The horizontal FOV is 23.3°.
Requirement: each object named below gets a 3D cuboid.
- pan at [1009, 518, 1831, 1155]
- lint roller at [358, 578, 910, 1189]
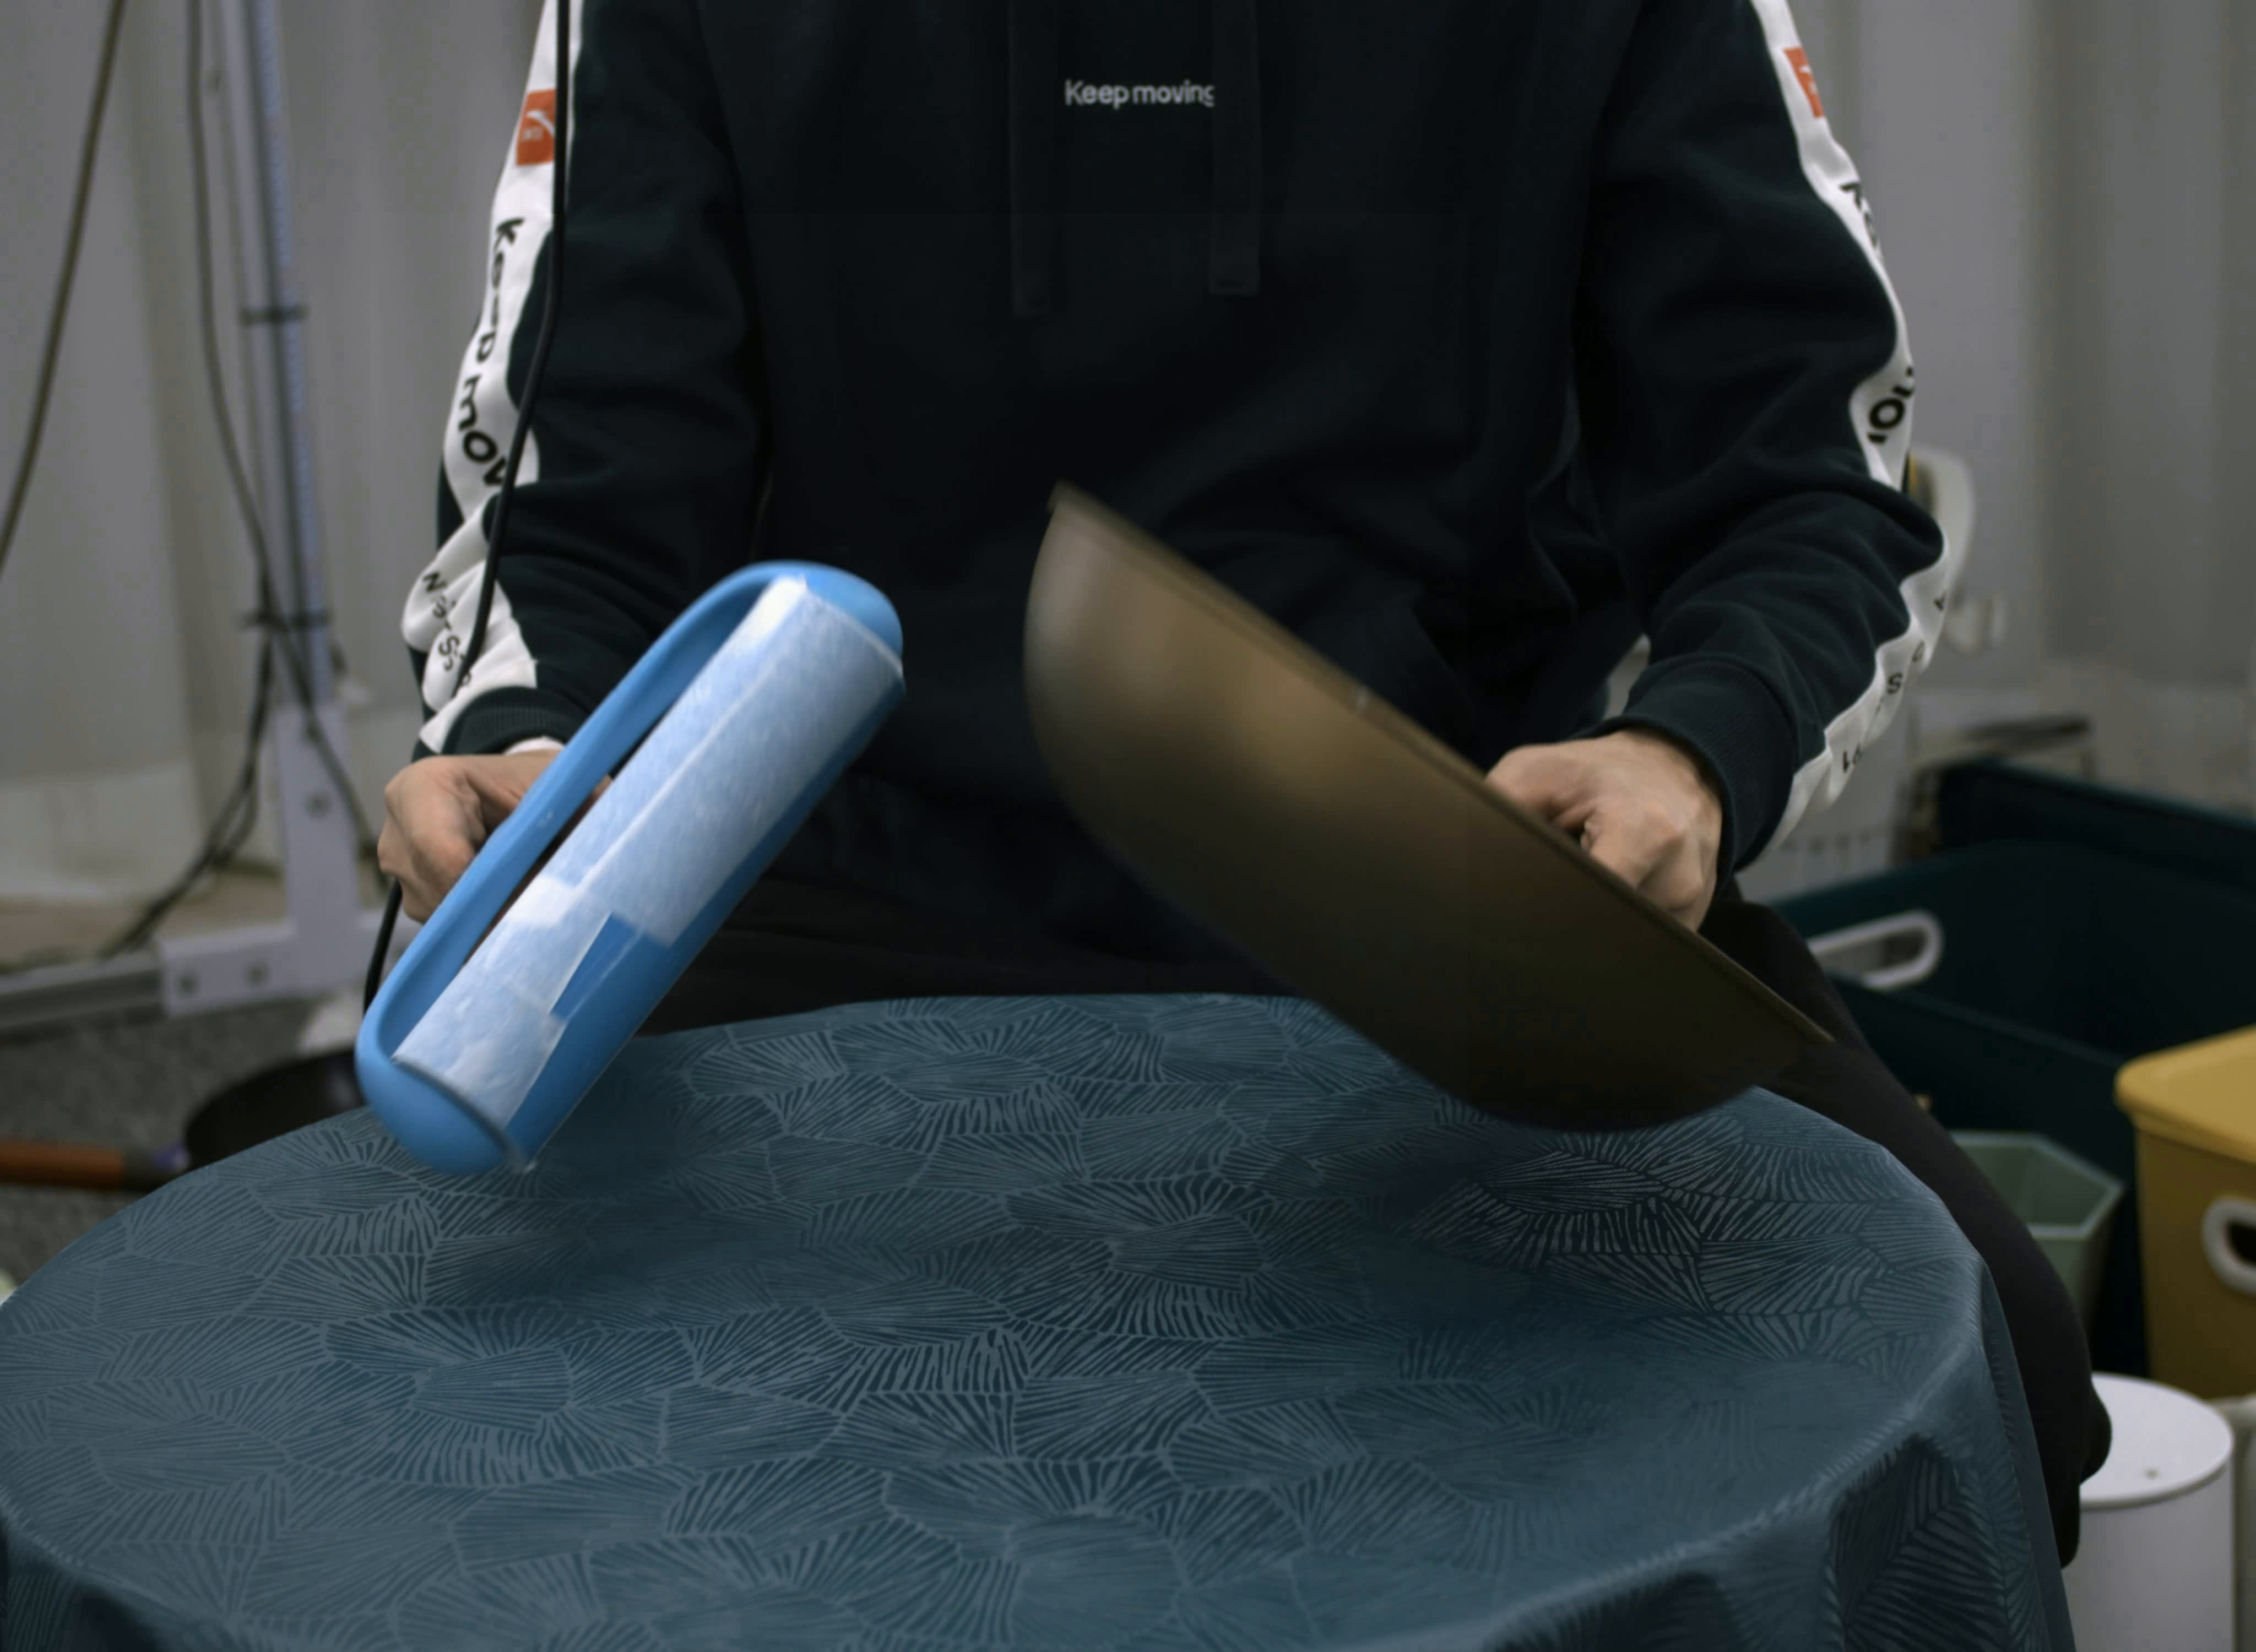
[{"bbox_3d":[0.095,0.031,1.712,0.290,0.087,0.460,34,2,18],"label":"pan"},{"bbox_3d":[-0.171,0.020,1.732,0.230,0.067,0.180,-54,18,-19],"label":"lint roller"}]
